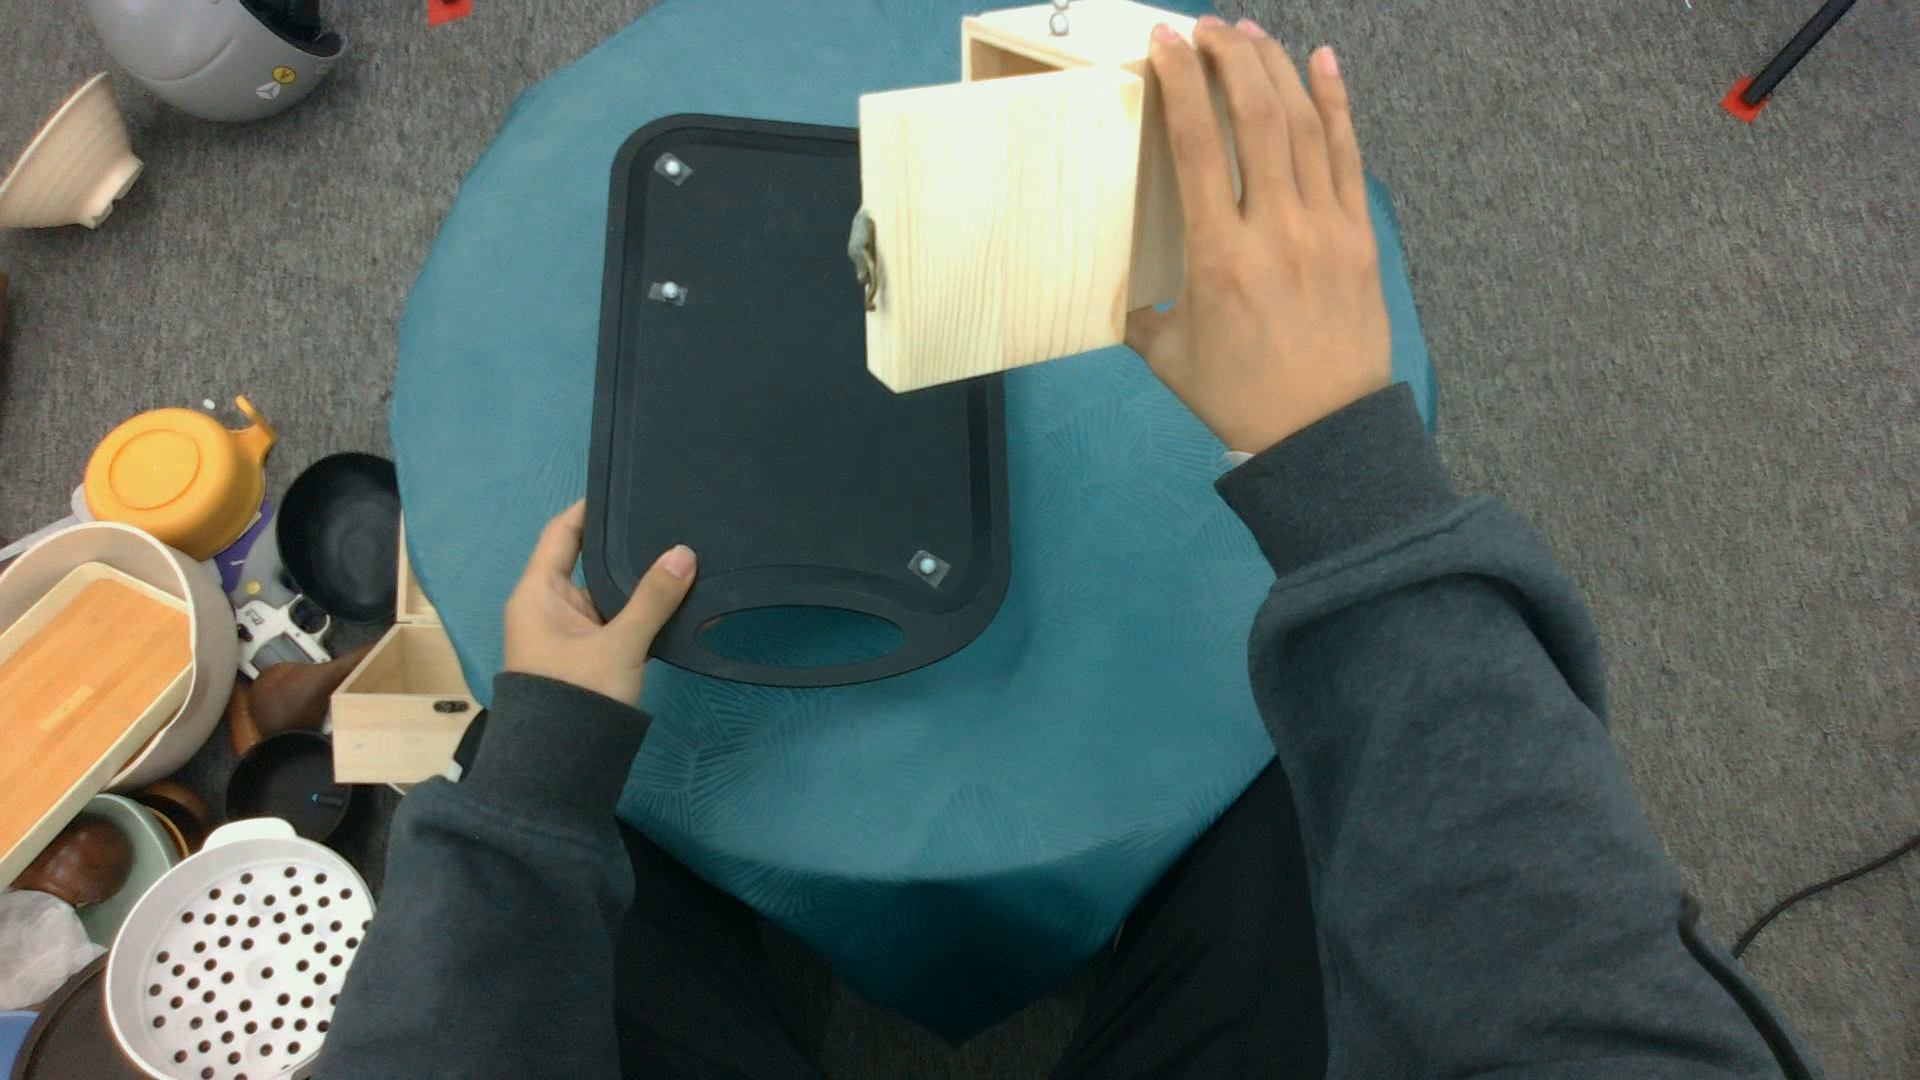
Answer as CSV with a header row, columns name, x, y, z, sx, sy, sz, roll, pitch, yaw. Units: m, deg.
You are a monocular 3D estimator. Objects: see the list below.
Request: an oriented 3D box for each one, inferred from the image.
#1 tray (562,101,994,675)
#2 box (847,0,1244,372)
name,x,y,z,sx,sy,sz,roll,pitch,yaw
tray,-0.088,-0.089,0.707,0.211,0.010,0.326,2,68,-10
box,0.013,-0.154,0.552,0.185,0.102,0.134,-18,37,-30
